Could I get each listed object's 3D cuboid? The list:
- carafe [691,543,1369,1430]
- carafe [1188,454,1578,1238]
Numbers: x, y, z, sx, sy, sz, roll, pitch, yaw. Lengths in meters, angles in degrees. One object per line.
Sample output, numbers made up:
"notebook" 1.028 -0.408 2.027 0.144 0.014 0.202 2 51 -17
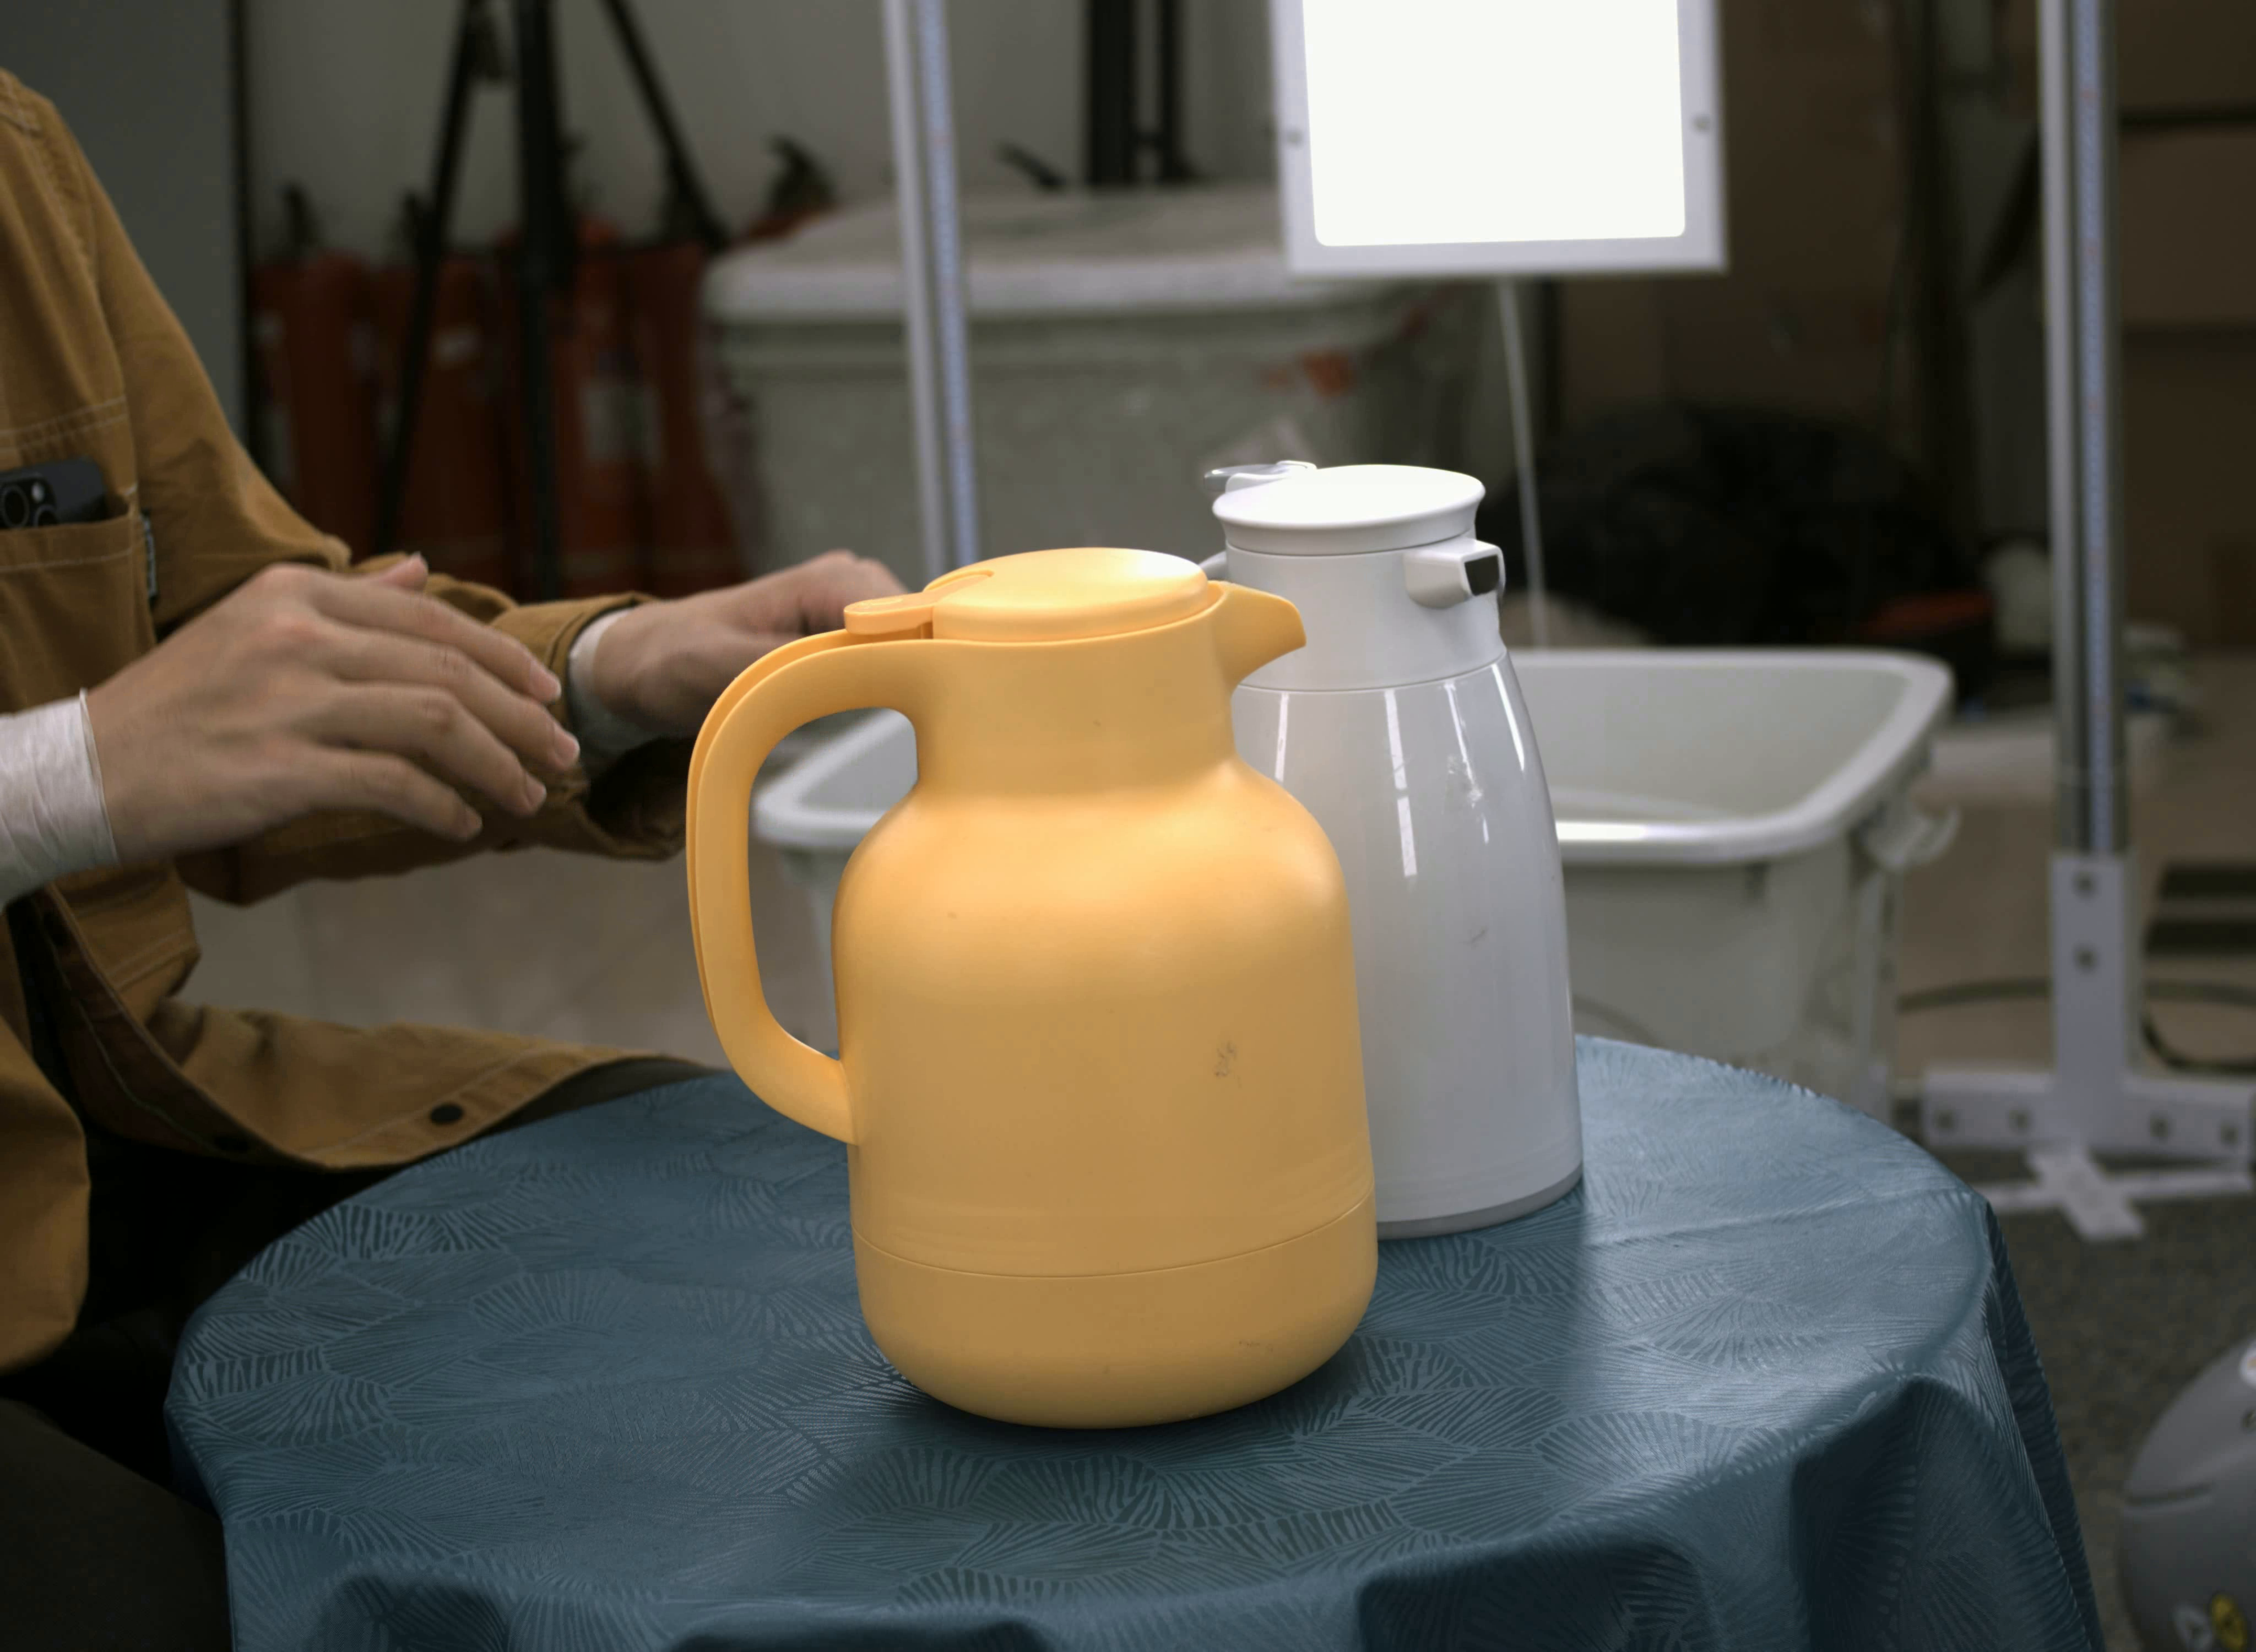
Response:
"carafe" -0.030 0.047 1.690 0.201 0.261 0.164 -5 12 -7
"carafe" 0.067 -0.001 1.869 0.129 0.249 0.171 -16 17 -39
